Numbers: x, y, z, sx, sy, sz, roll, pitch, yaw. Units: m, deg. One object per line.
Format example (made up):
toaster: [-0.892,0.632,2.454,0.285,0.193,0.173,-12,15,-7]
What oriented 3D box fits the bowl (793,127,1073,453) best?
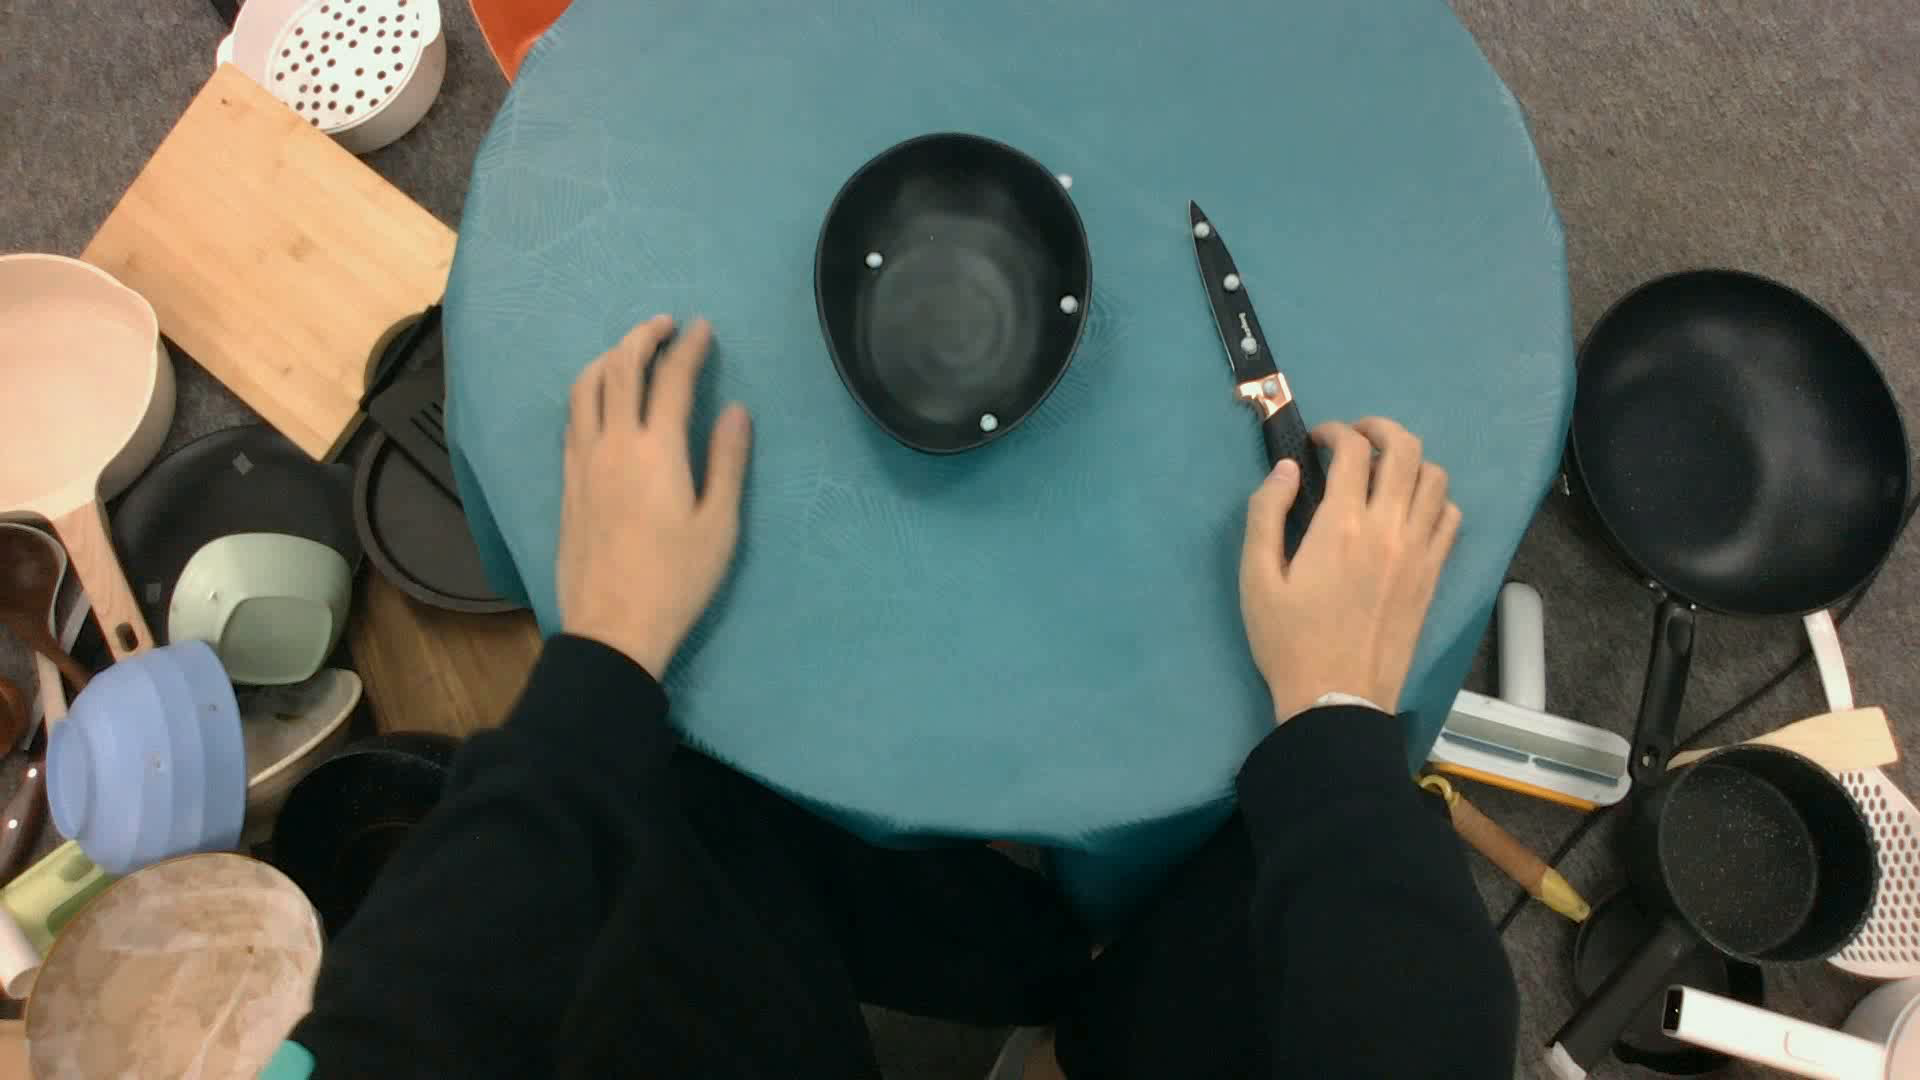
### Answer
bowl: [-0.013,-0.121,0.701,0.137,0.066,0.170,1,76,0]

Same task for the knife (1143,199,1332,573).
knife: [0.143,-0.086,0.720,0.026,0.017,0.226,-17,73,-8]
